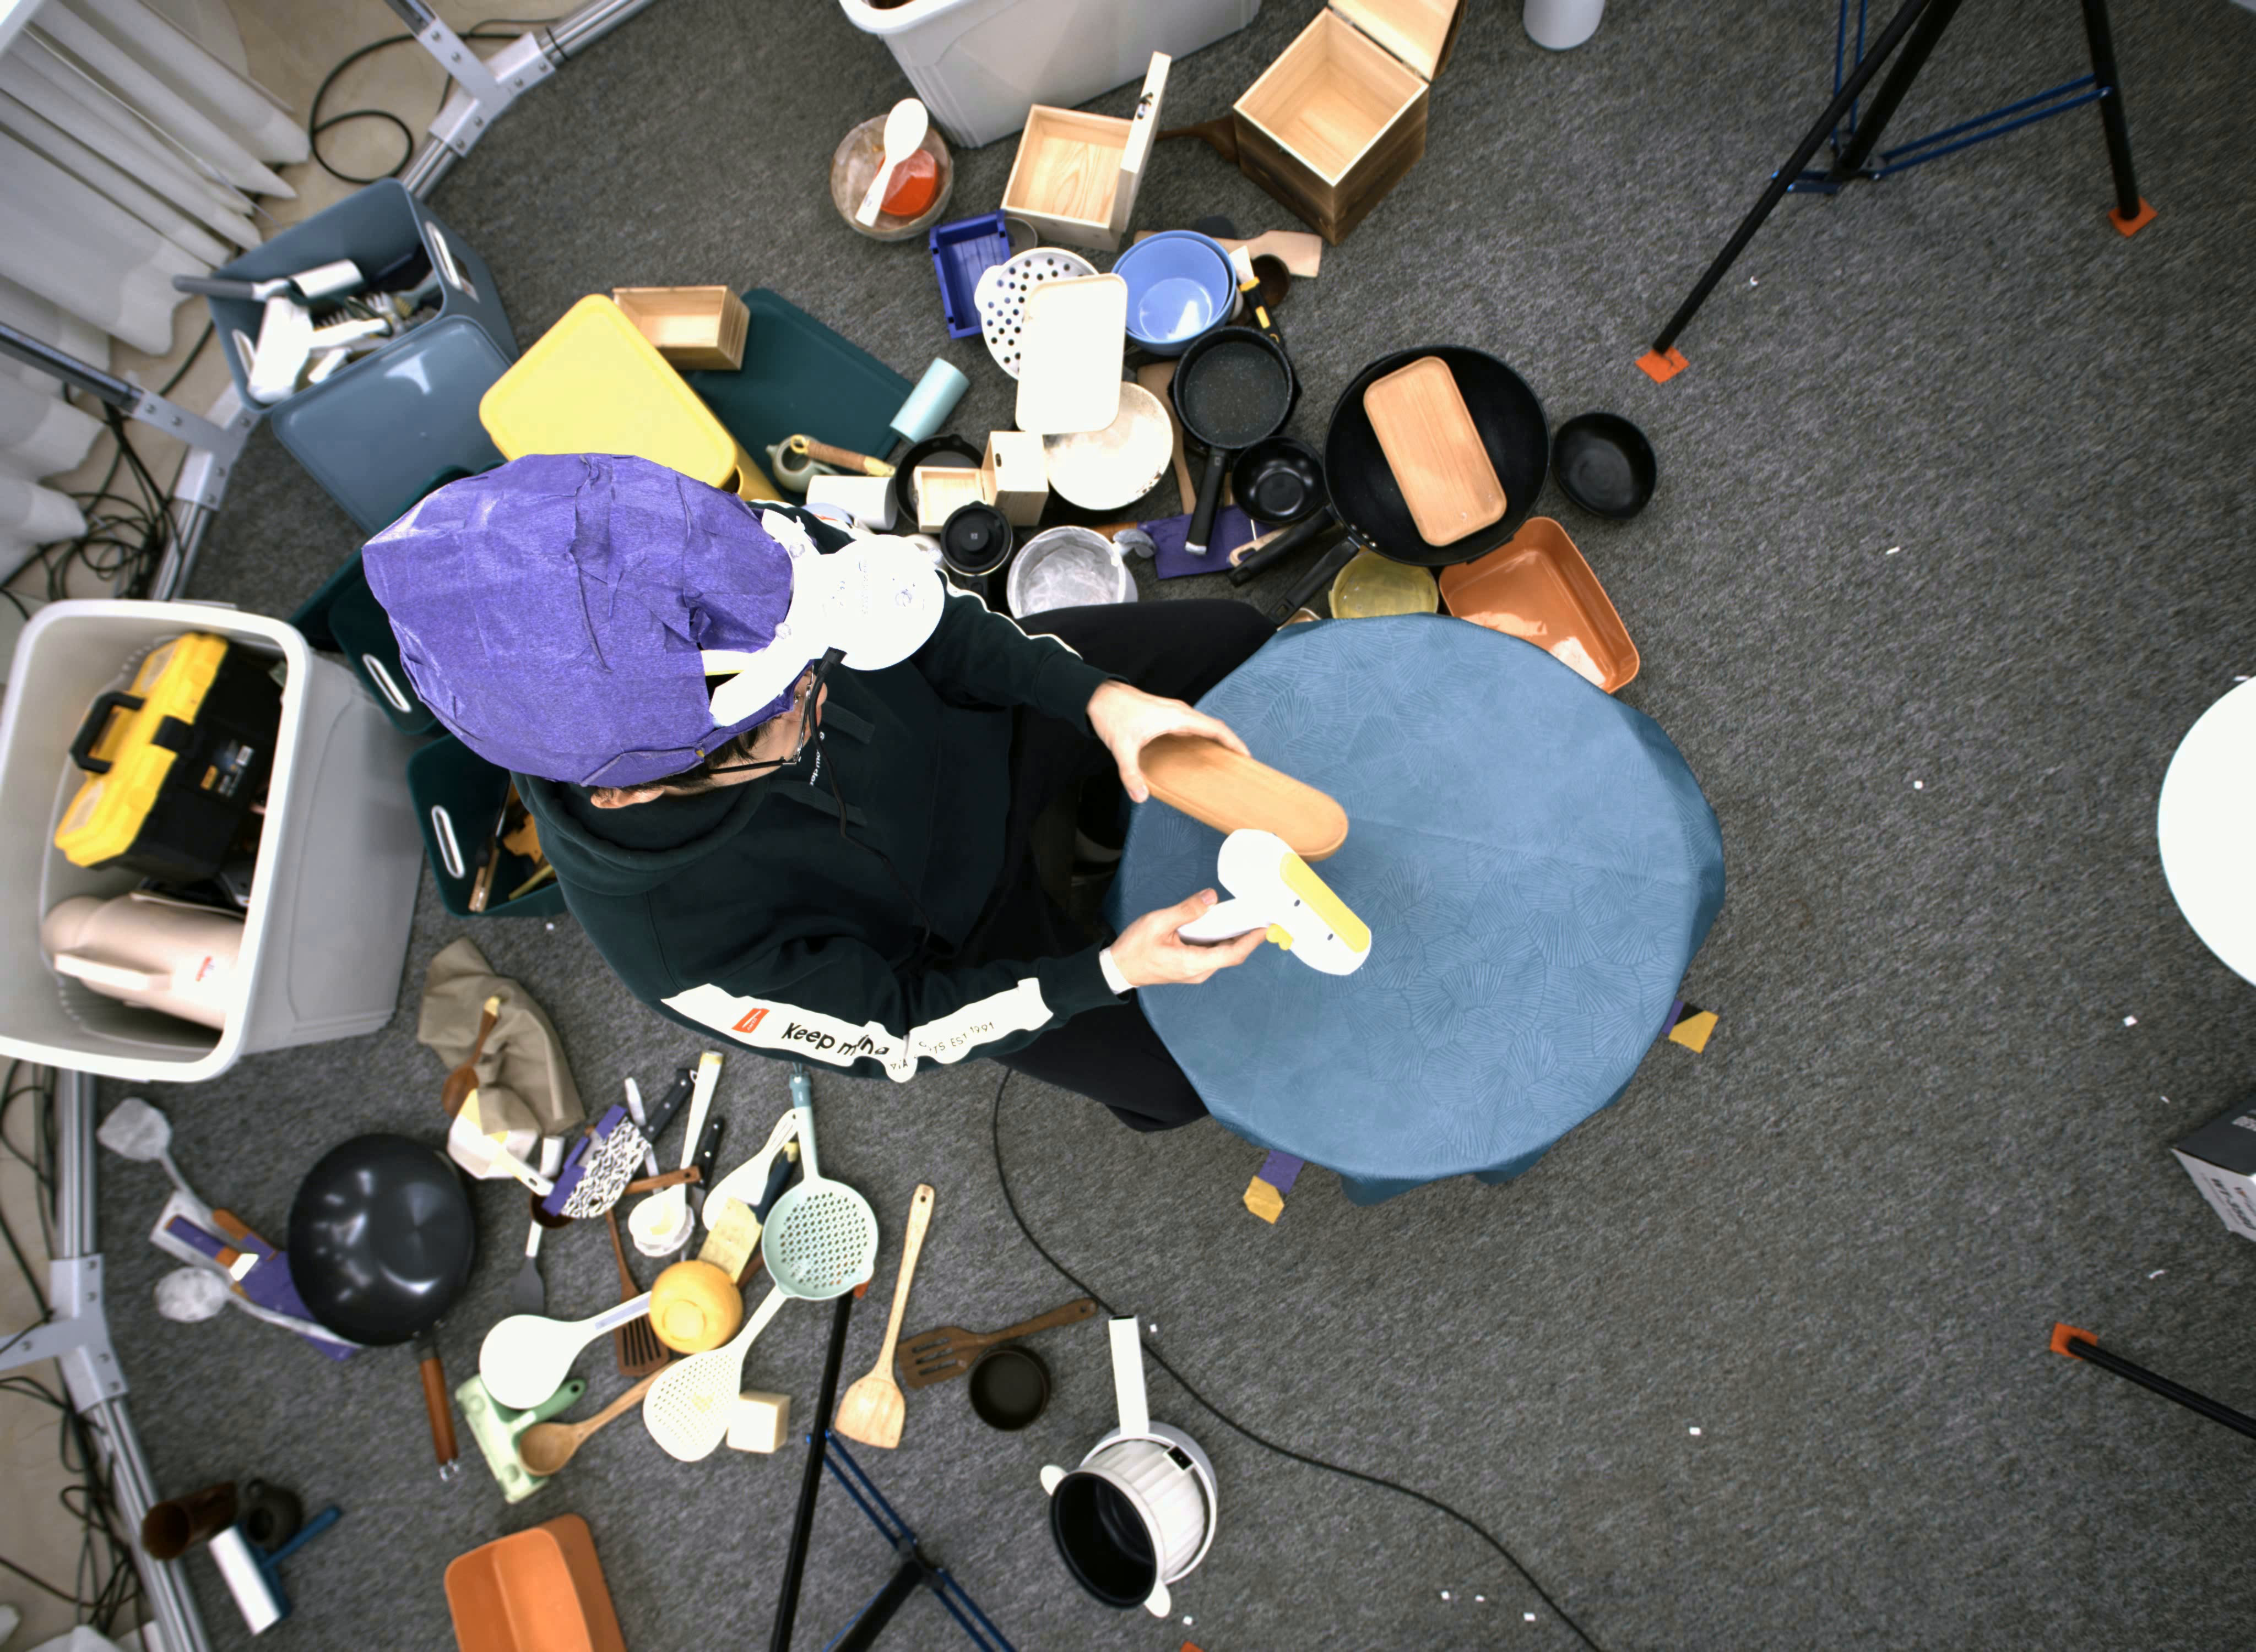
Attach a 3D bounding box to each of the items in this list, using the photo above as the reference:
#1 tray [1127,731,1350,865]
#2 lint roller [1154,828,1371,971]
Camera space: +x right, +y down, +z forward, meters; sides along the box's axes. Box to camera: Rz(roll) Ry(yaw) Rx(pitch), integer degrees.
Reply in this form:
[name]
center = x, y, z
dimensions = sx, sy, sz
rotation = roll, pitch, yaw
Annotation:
[tray]
center = 0.103, -0.029, 1.315
dimensions = 0.230, 0.021, 0.099
rotation = 28, 48, 21
[lint roller]
center = 0.104, 0.079, 1.280
dimensions = 0.194, 0.194, 0.073
rotation = -8, 56, 46
